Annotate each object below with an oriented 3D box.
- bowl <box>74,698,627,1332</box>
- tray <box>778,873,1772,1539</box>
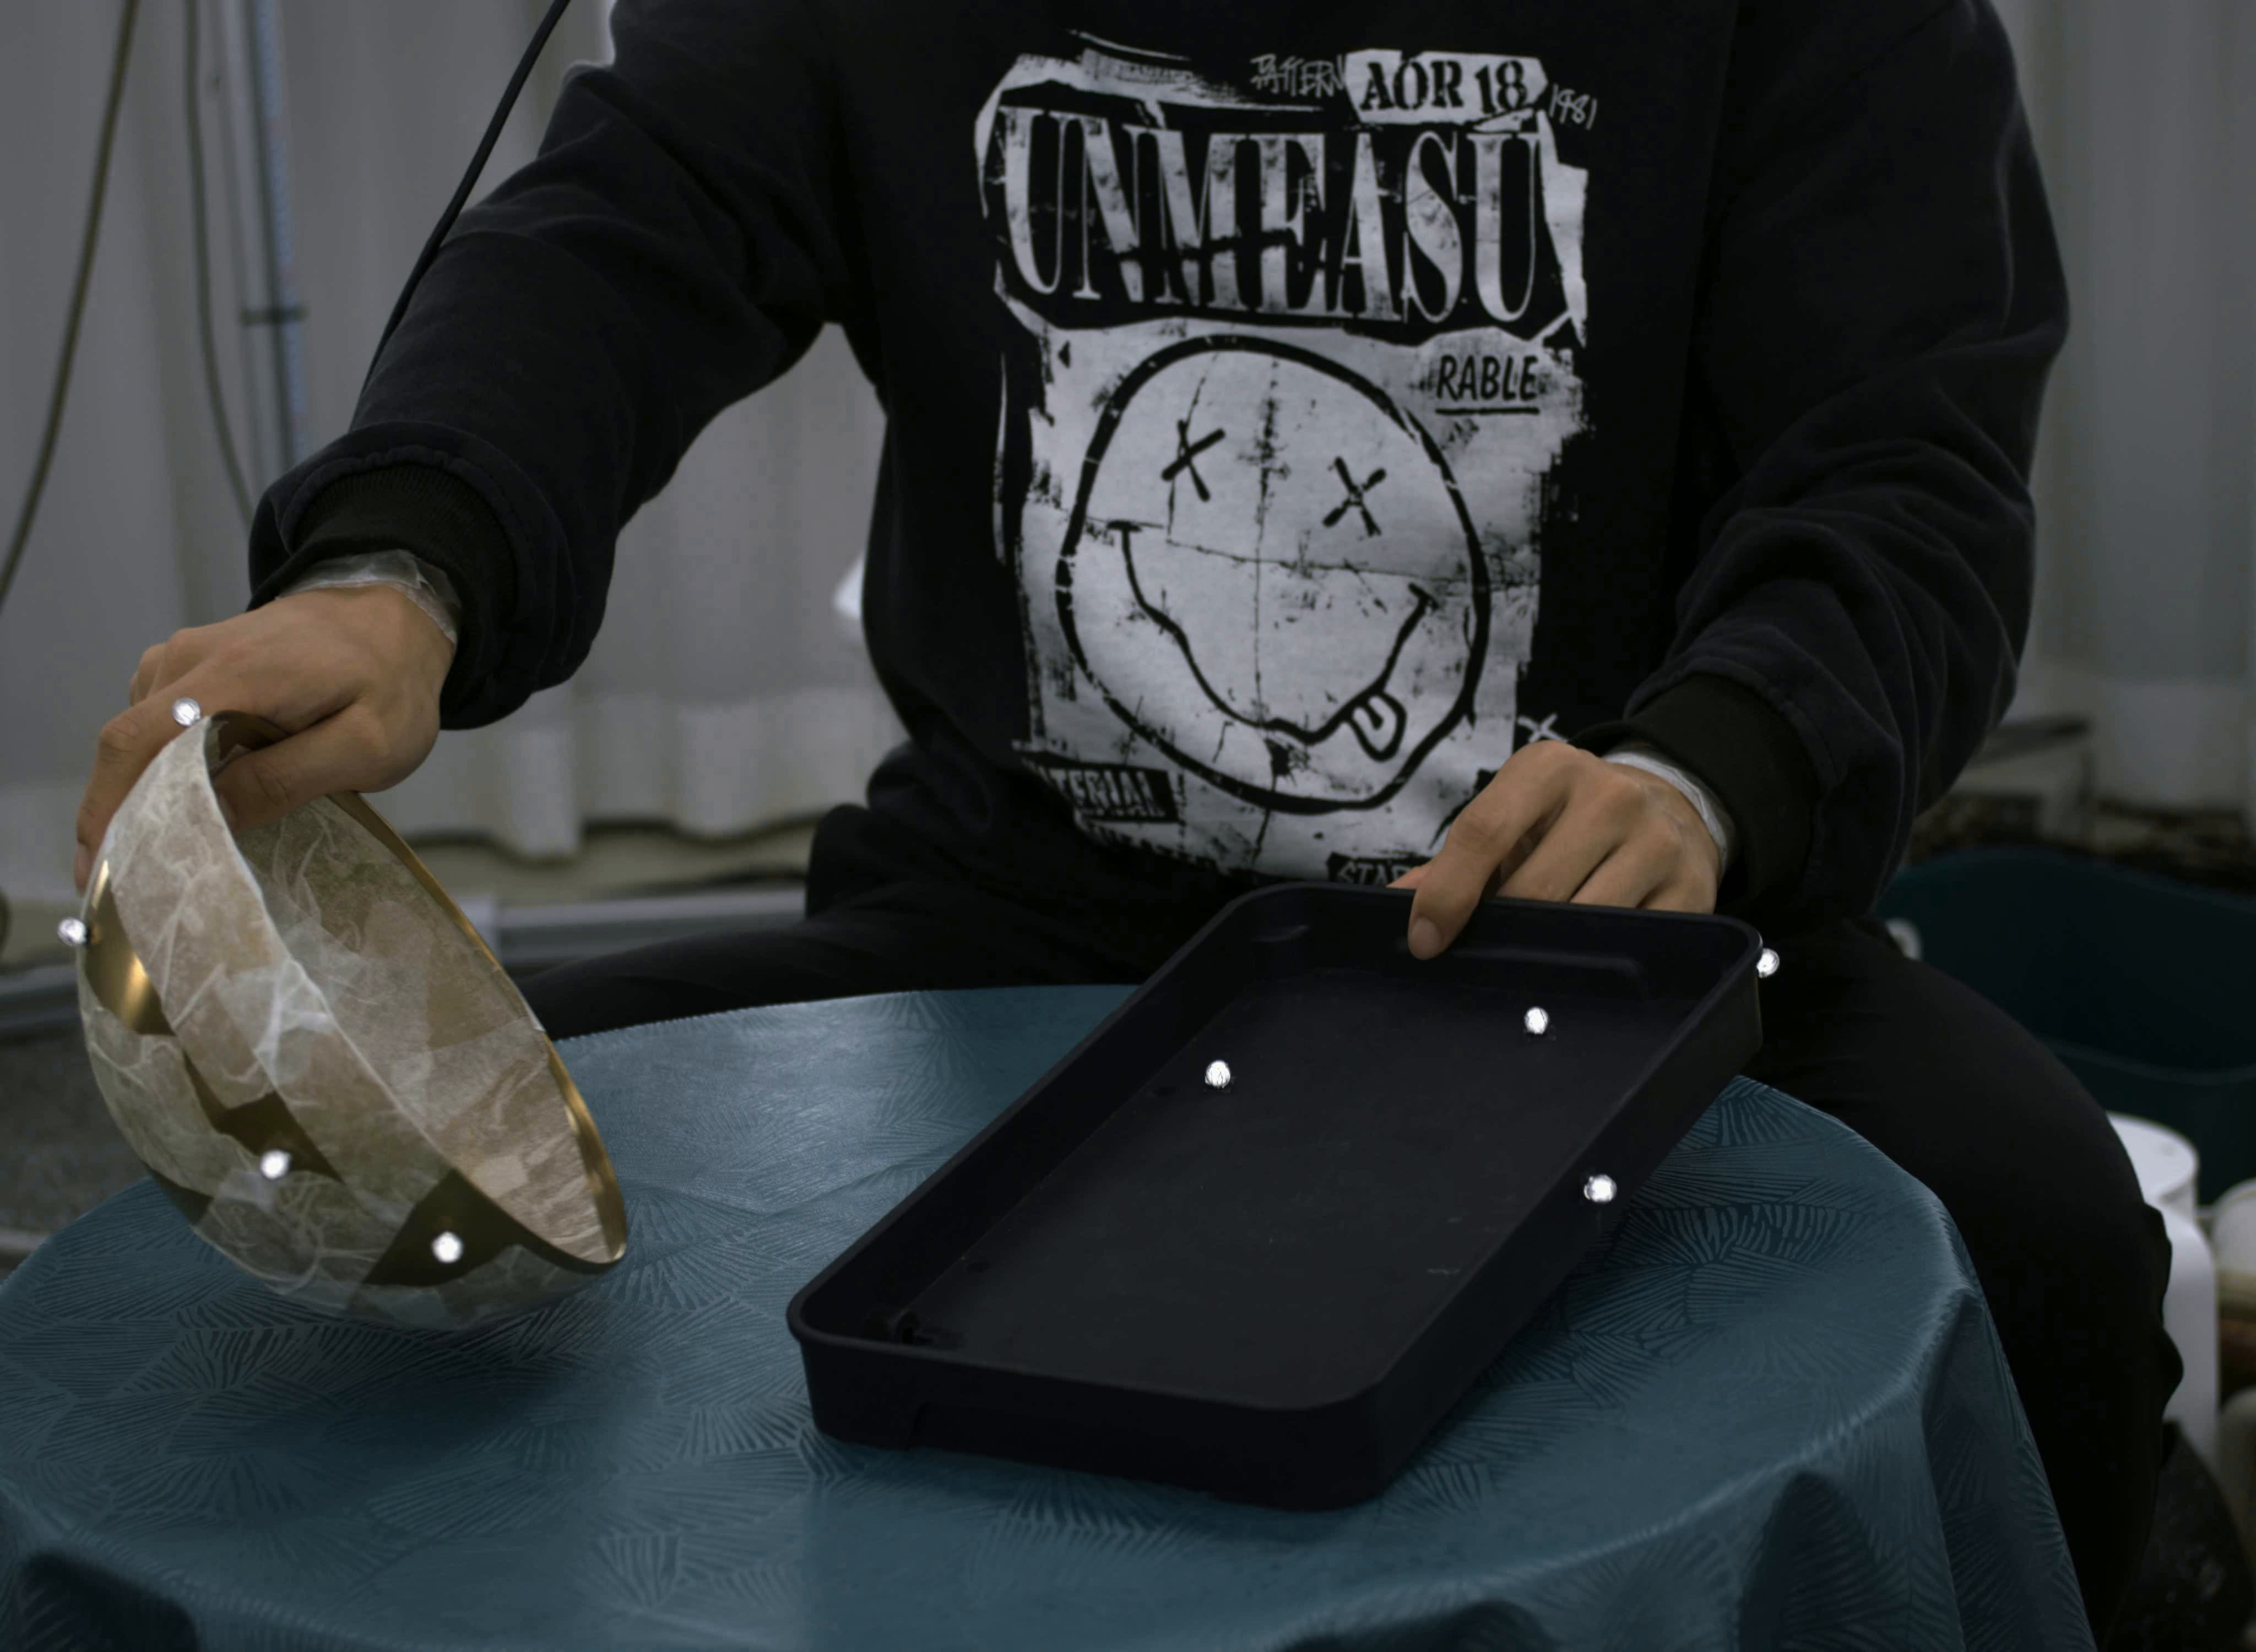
[{"bbox_3d":[-0.240,0.074,1.601,0.094,0.213,0.216,-36,13,6],"label":"bowl"},{"bbox_3d":[0.051,0.103,1.604,0.185,0.037,0.319,7,28,29],"label":"tray"}]
